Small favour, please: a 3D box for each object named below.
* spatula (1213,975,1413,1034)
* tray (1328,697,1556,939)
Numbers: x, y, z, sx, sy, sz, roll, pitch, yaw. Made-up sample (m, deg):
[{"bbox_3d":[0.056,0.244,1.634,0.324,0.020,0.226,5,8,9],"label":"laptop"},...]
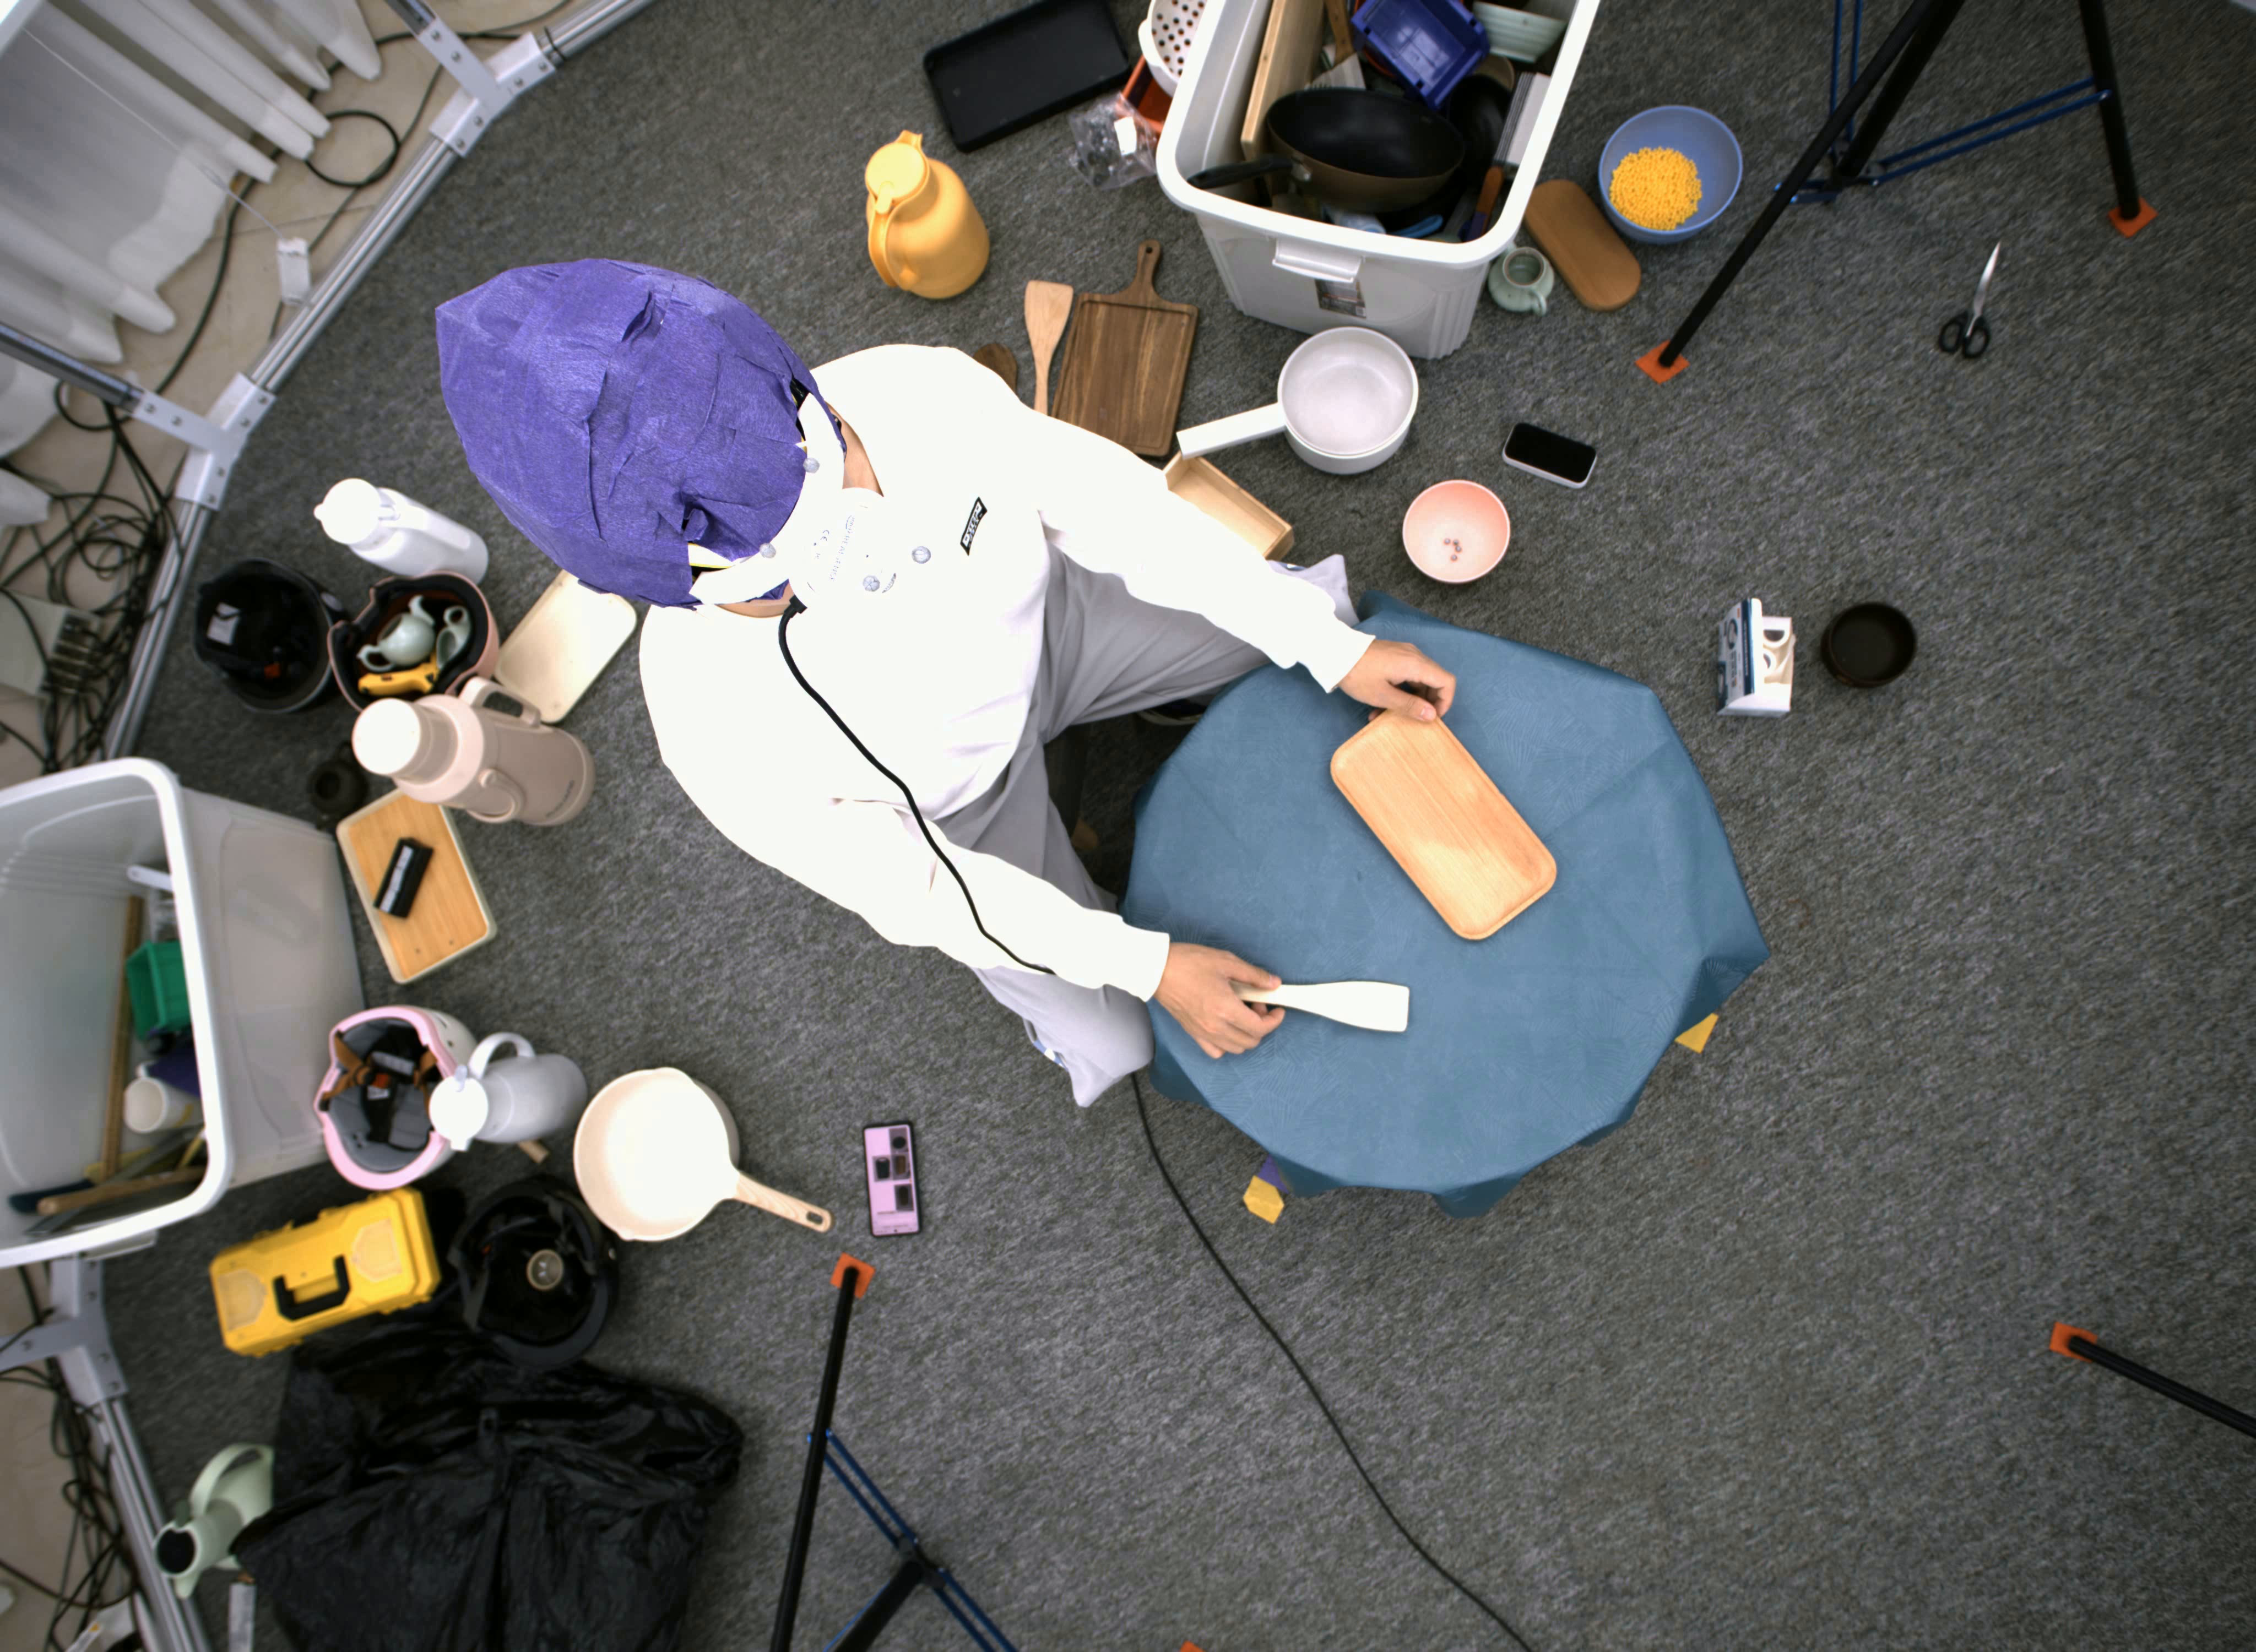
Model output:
[{"bbox_3d":[0.193,0.179,1.452,0.208,0.005,0.050,7,75,7],"label":"spatula"},{"bbox_3d":[0.326,-0.011,1.433,0.131,0.023,0.250,-39,84,8],"label":"tray"}]
